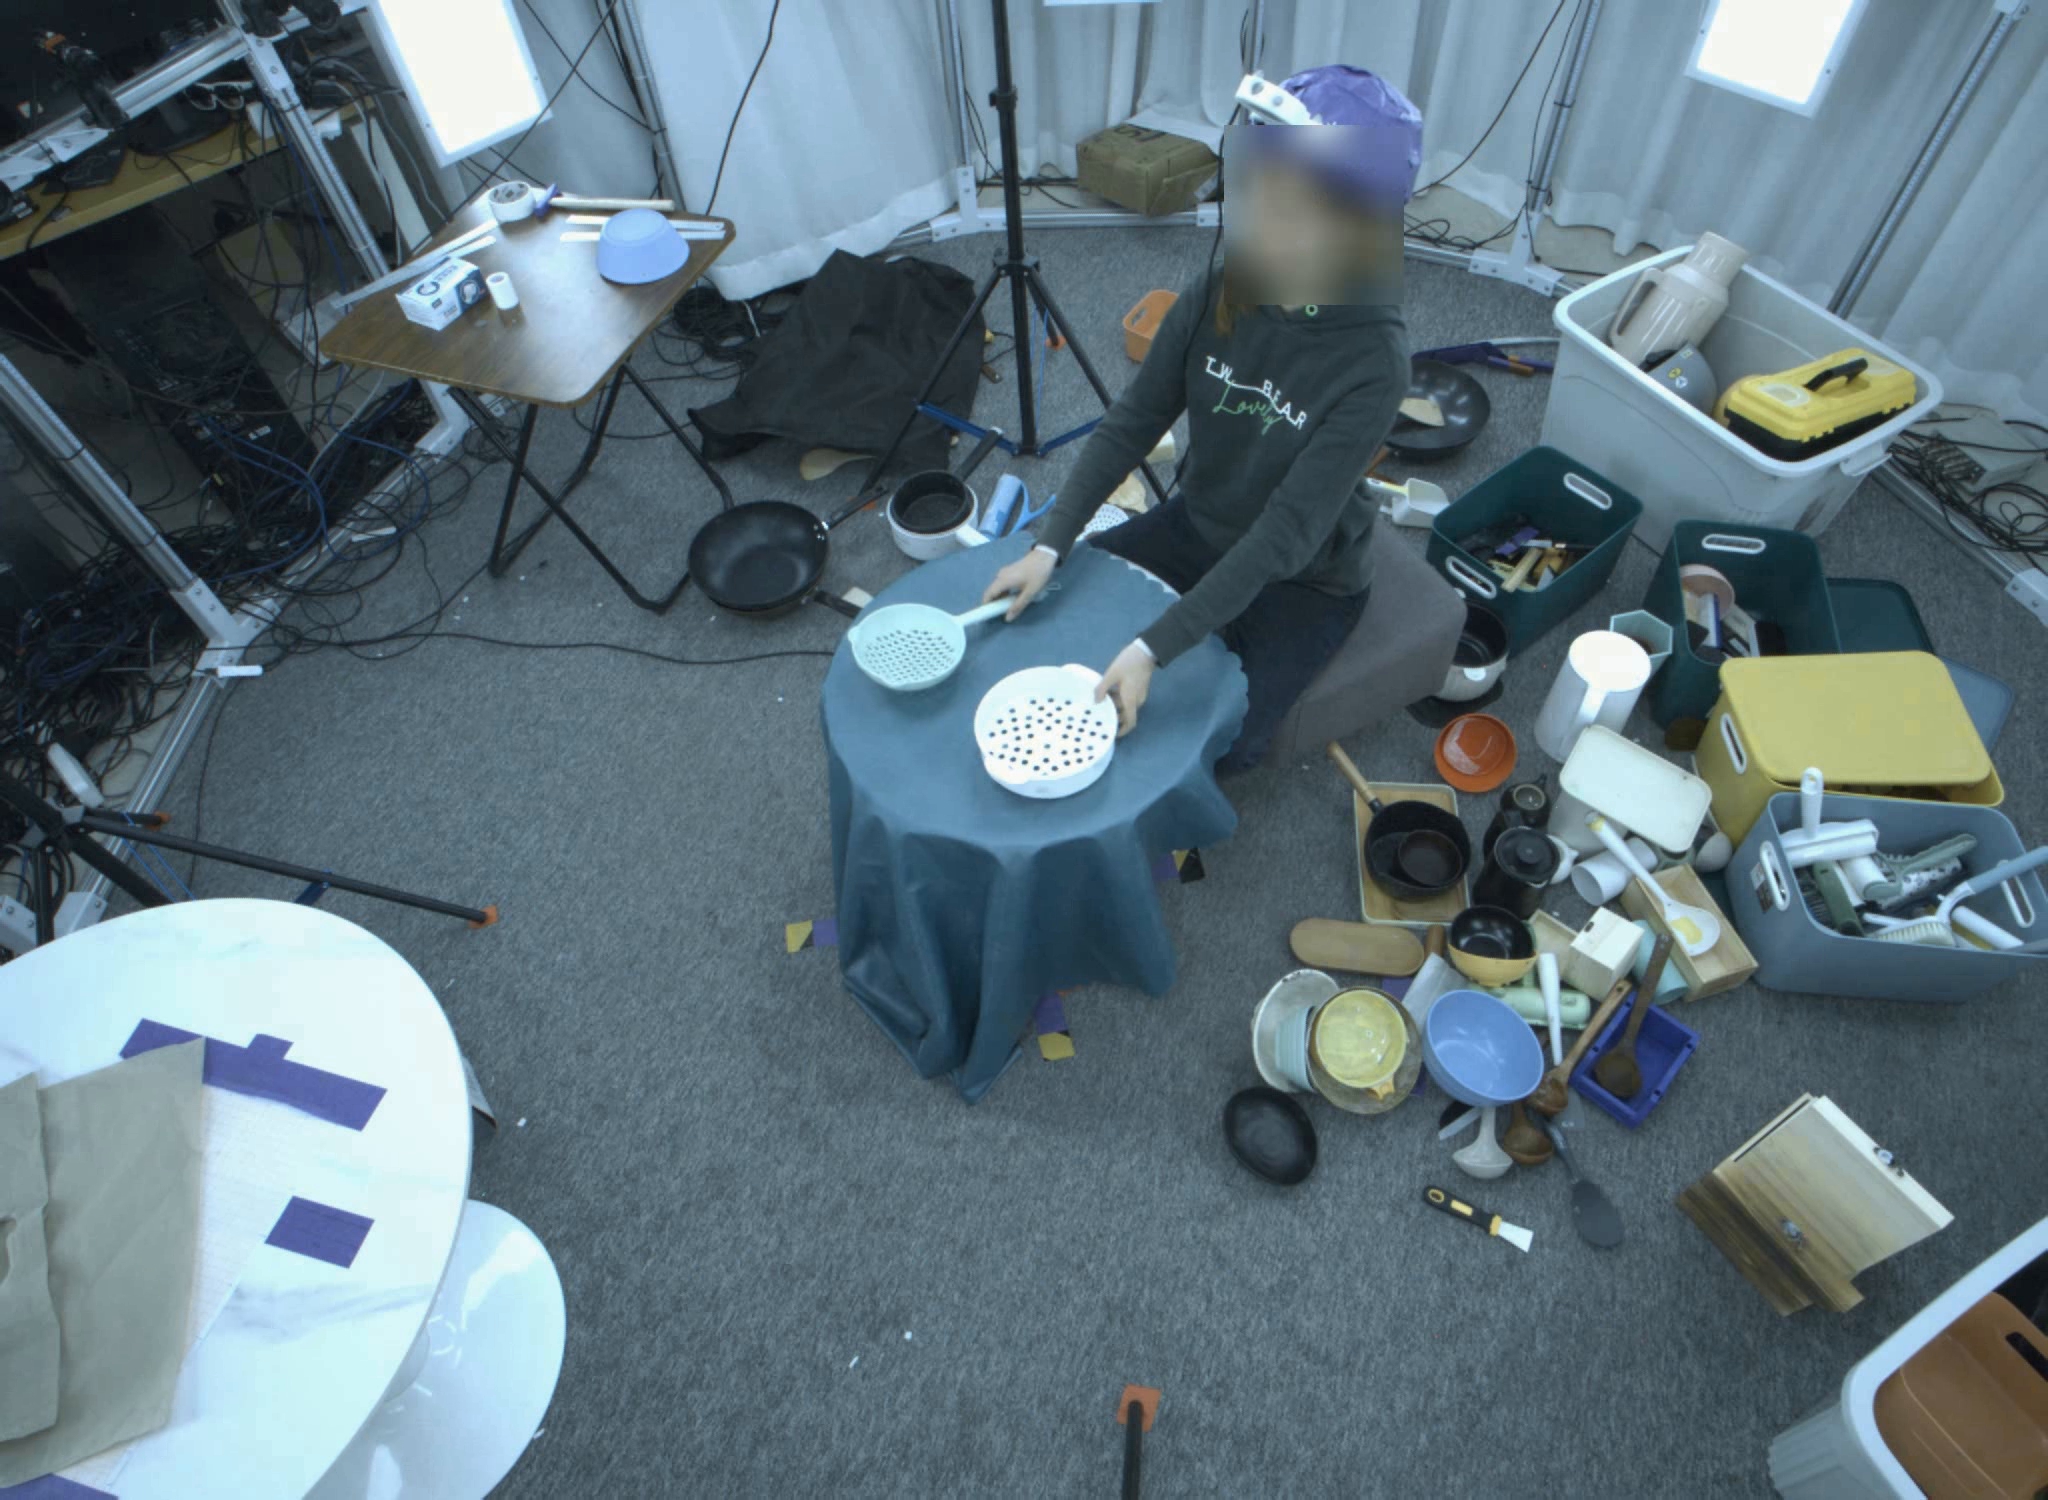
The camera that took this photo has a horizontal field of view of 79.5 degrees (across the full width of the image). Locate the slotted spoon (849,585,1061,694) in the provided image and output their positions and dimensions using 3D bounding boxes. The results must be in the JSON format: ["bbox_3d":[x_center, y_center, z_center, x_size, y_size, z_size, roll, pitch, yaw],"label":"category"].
[{"bbox_3d":[-0.093,-0.190,1.894,0.361,0.076,0.166,-31,60,-18],"label":"slotted spoon"}]

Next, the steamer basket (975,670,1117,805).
[{"bbox_3d":[0.032,-0.014,1.768,0.199,0.070,0.231,27,60,18],"label":"steamer basket"}]
